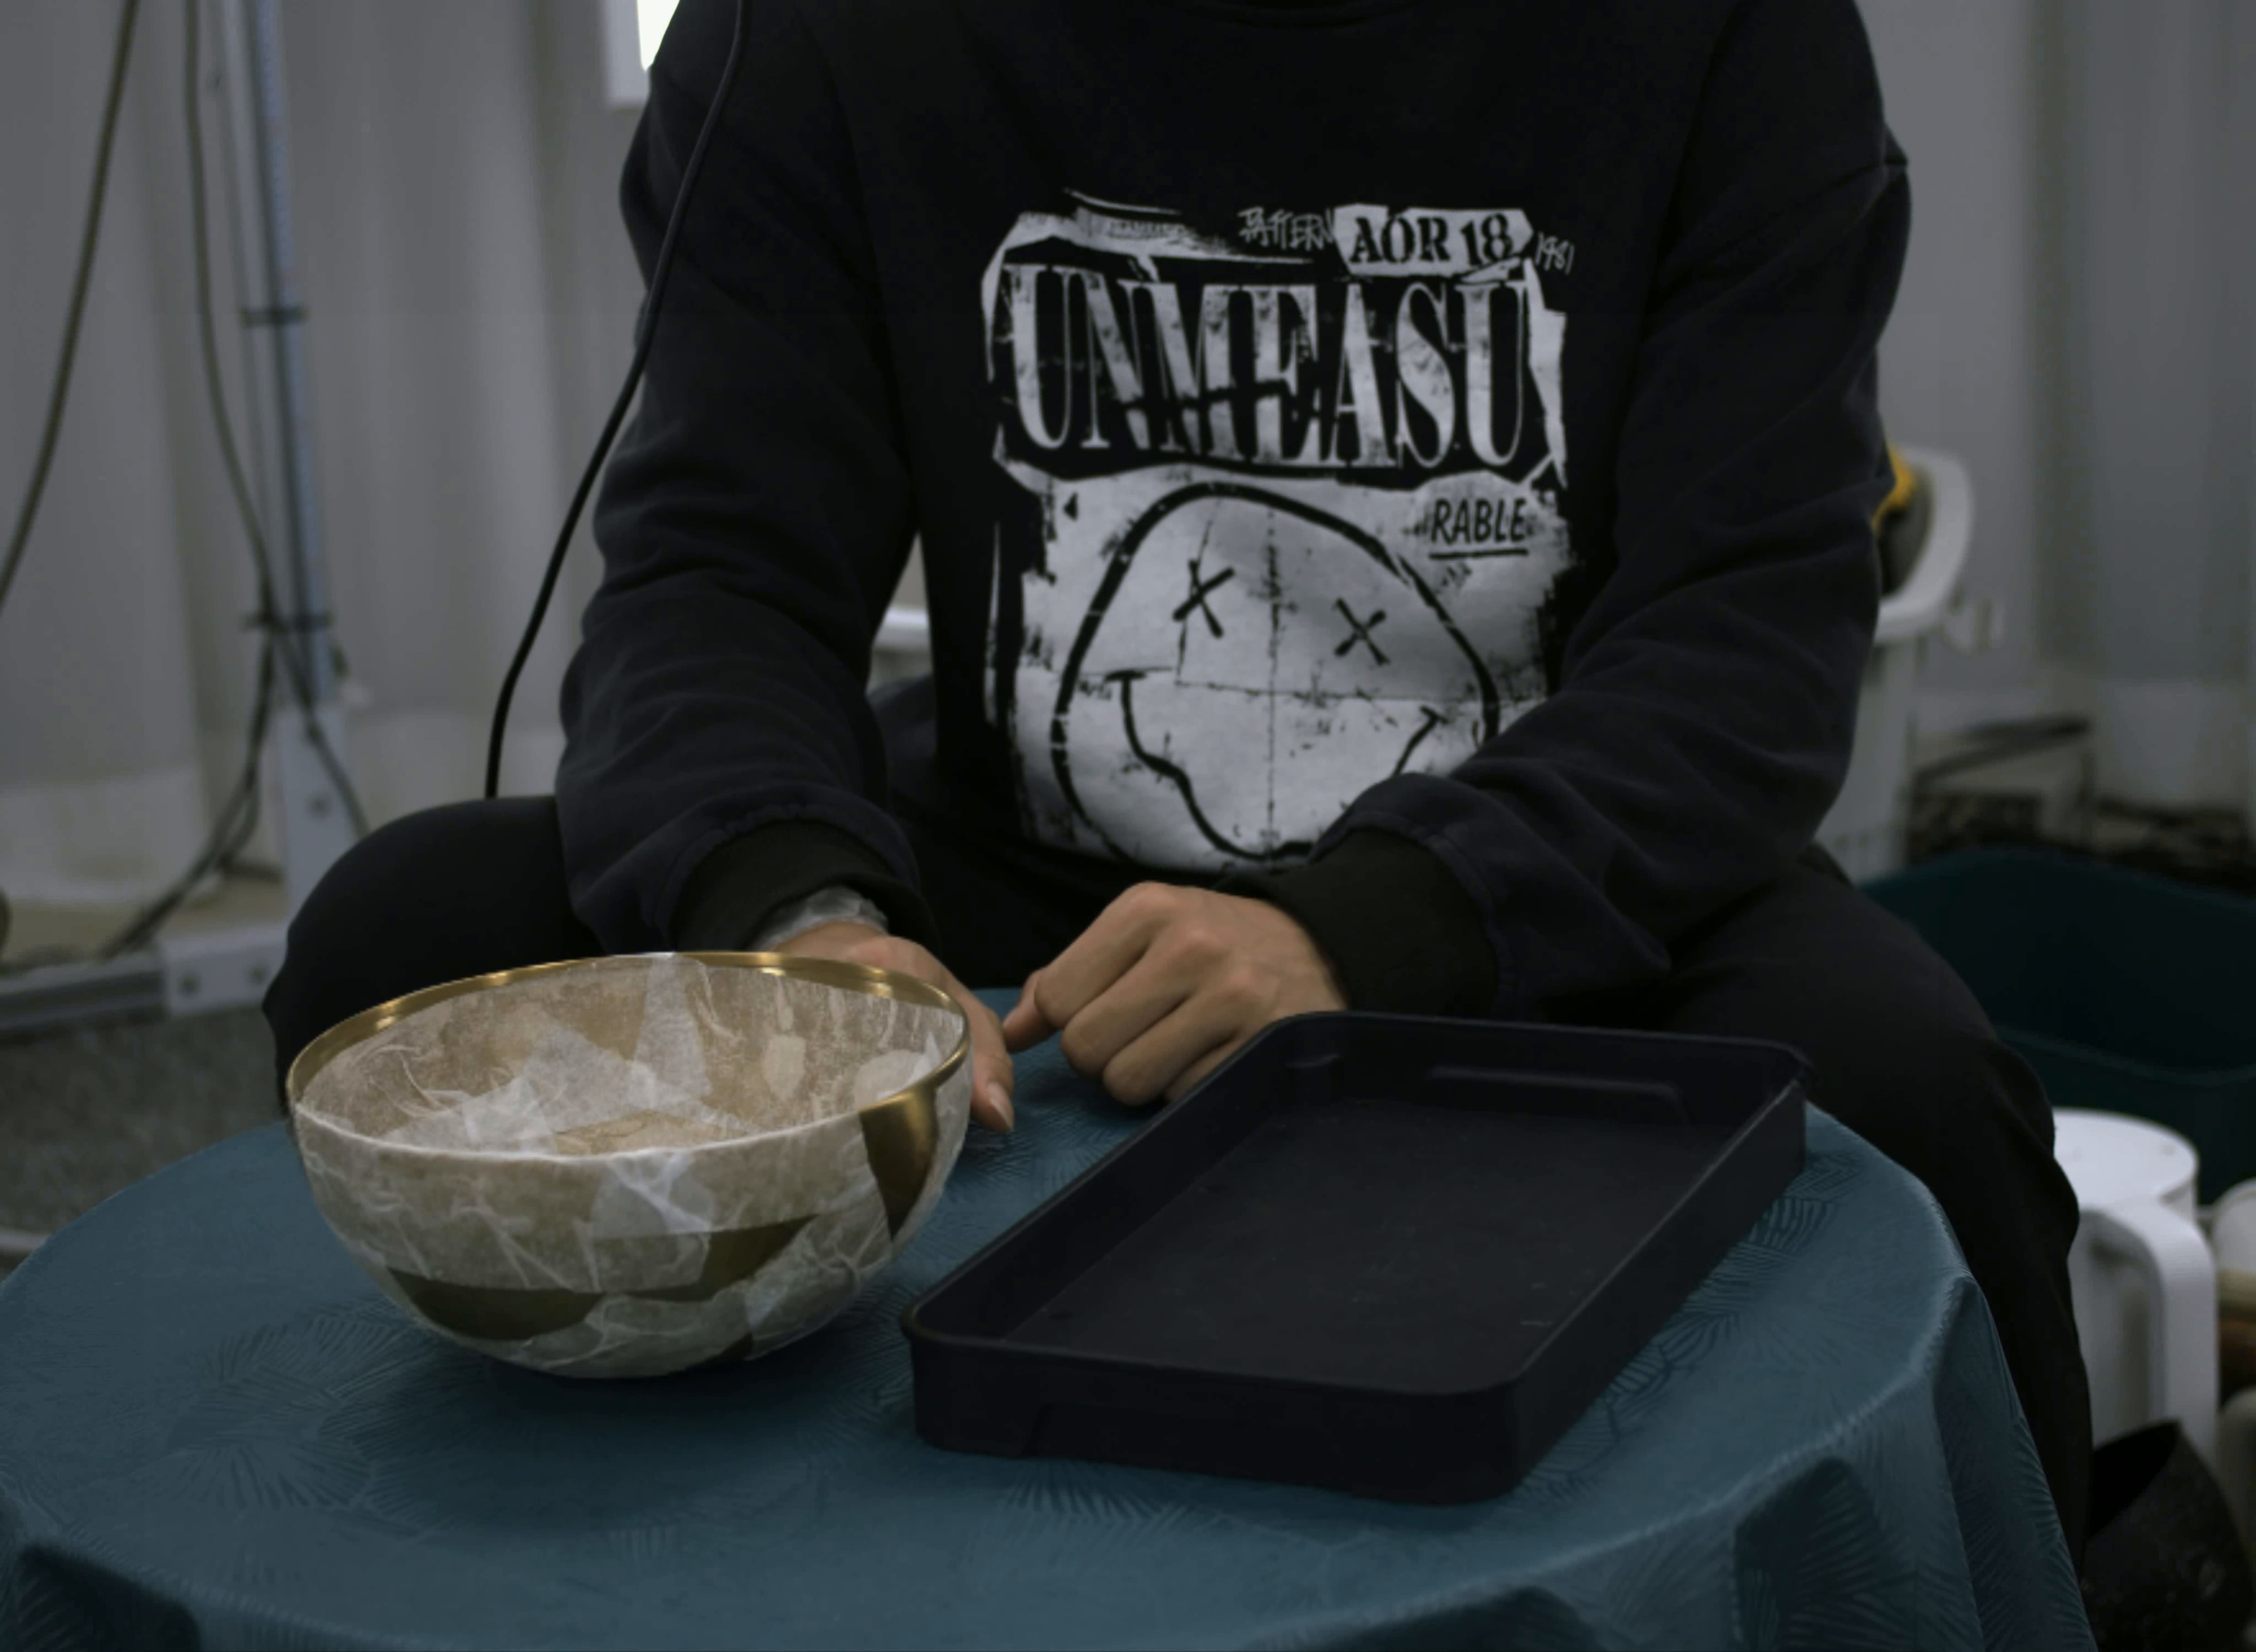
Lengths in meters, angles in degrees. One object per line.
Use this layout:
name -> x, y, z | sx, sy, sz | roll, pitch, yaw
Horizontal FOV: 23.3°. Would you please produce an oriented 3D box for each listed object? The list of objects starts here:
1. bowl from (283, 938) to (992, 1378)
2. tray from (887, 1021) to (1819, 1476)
bowl -> -0.139, 0.106, 1.598 | 0.214, 0.094, 0.216 | -4, 14, 1
tray -> 0.075, 0.118, 1.608 | 0.184, 0.037, 0.318 | 2, 14, 25
